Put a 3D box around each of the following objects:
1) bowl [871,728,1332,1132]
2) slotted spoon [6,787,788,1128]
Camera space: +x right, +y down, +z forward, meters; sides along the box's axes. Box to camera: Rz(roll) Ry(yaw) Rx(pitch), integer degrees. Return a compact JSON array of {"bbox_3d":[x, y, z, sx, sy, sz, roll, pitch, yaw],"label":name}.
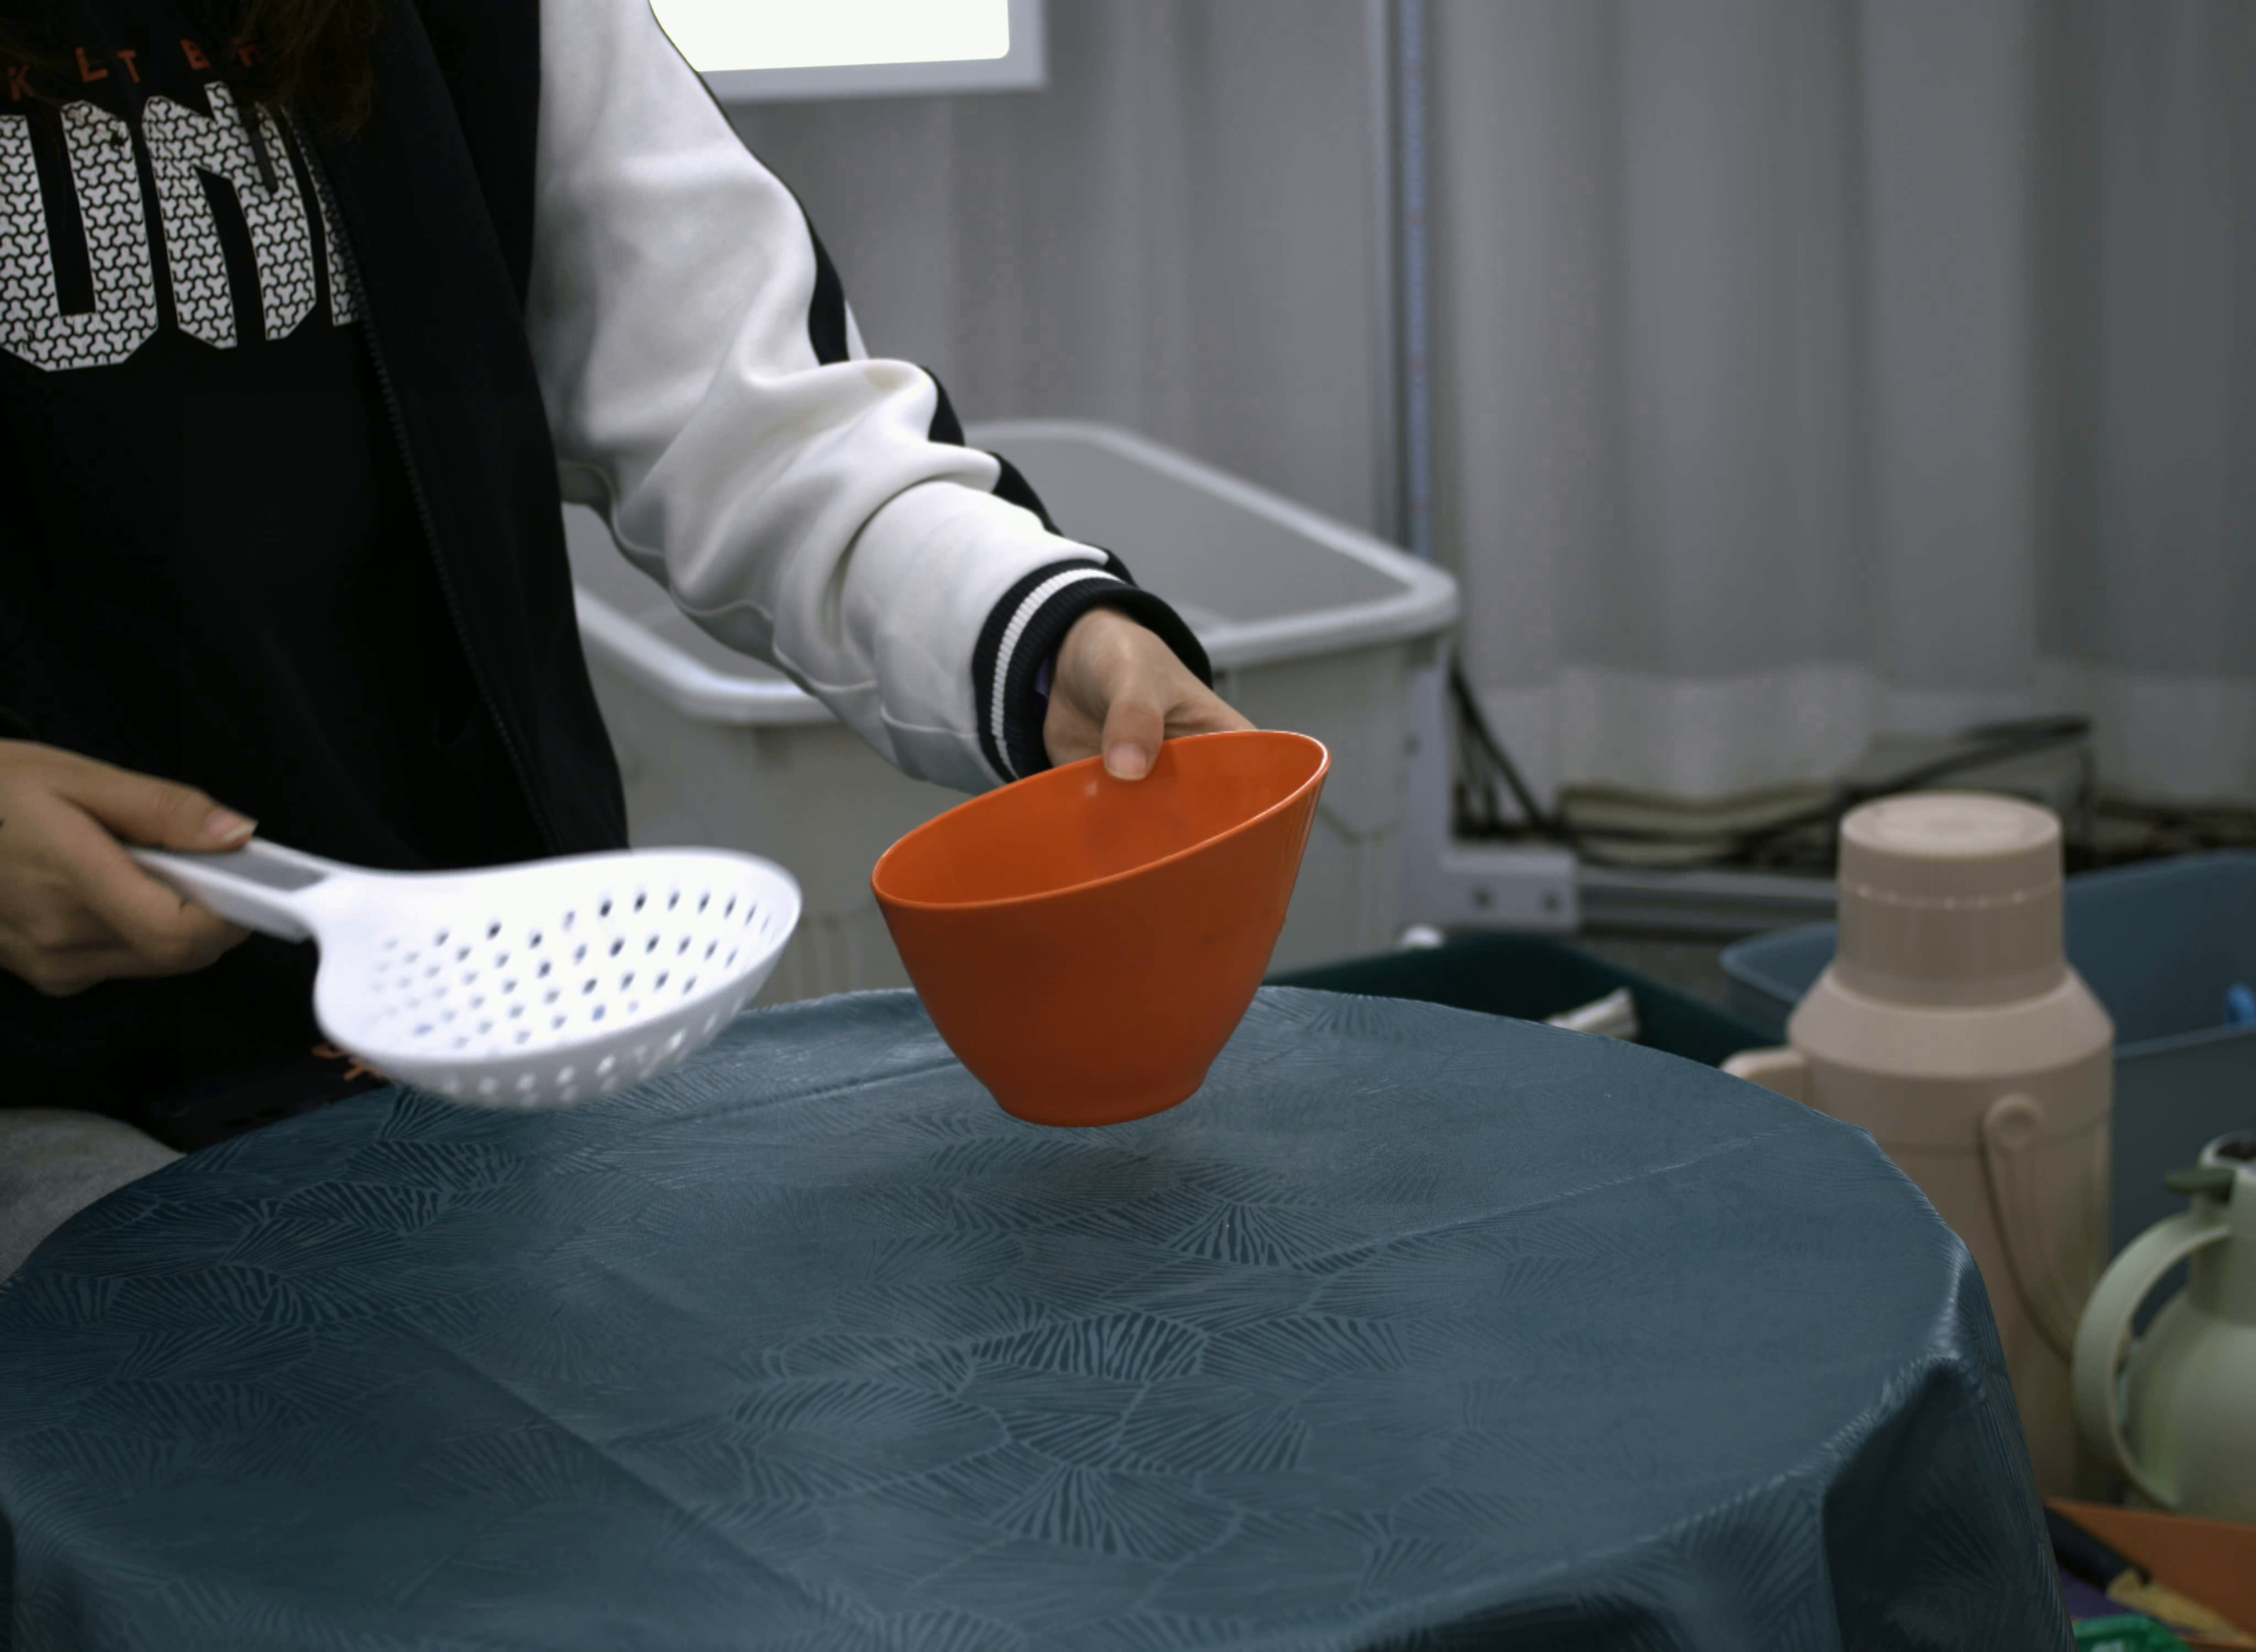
[{"bbox_3d":[-0.003,0.036,1.705,0.147,0.104,0.149,-8,20,3],"label":"bowl"},{"bbox_3d":[-0.230,0.028,1.594,0.136,0.045,0.352,-25,30,-35],"label":"slotted spoon"}]
